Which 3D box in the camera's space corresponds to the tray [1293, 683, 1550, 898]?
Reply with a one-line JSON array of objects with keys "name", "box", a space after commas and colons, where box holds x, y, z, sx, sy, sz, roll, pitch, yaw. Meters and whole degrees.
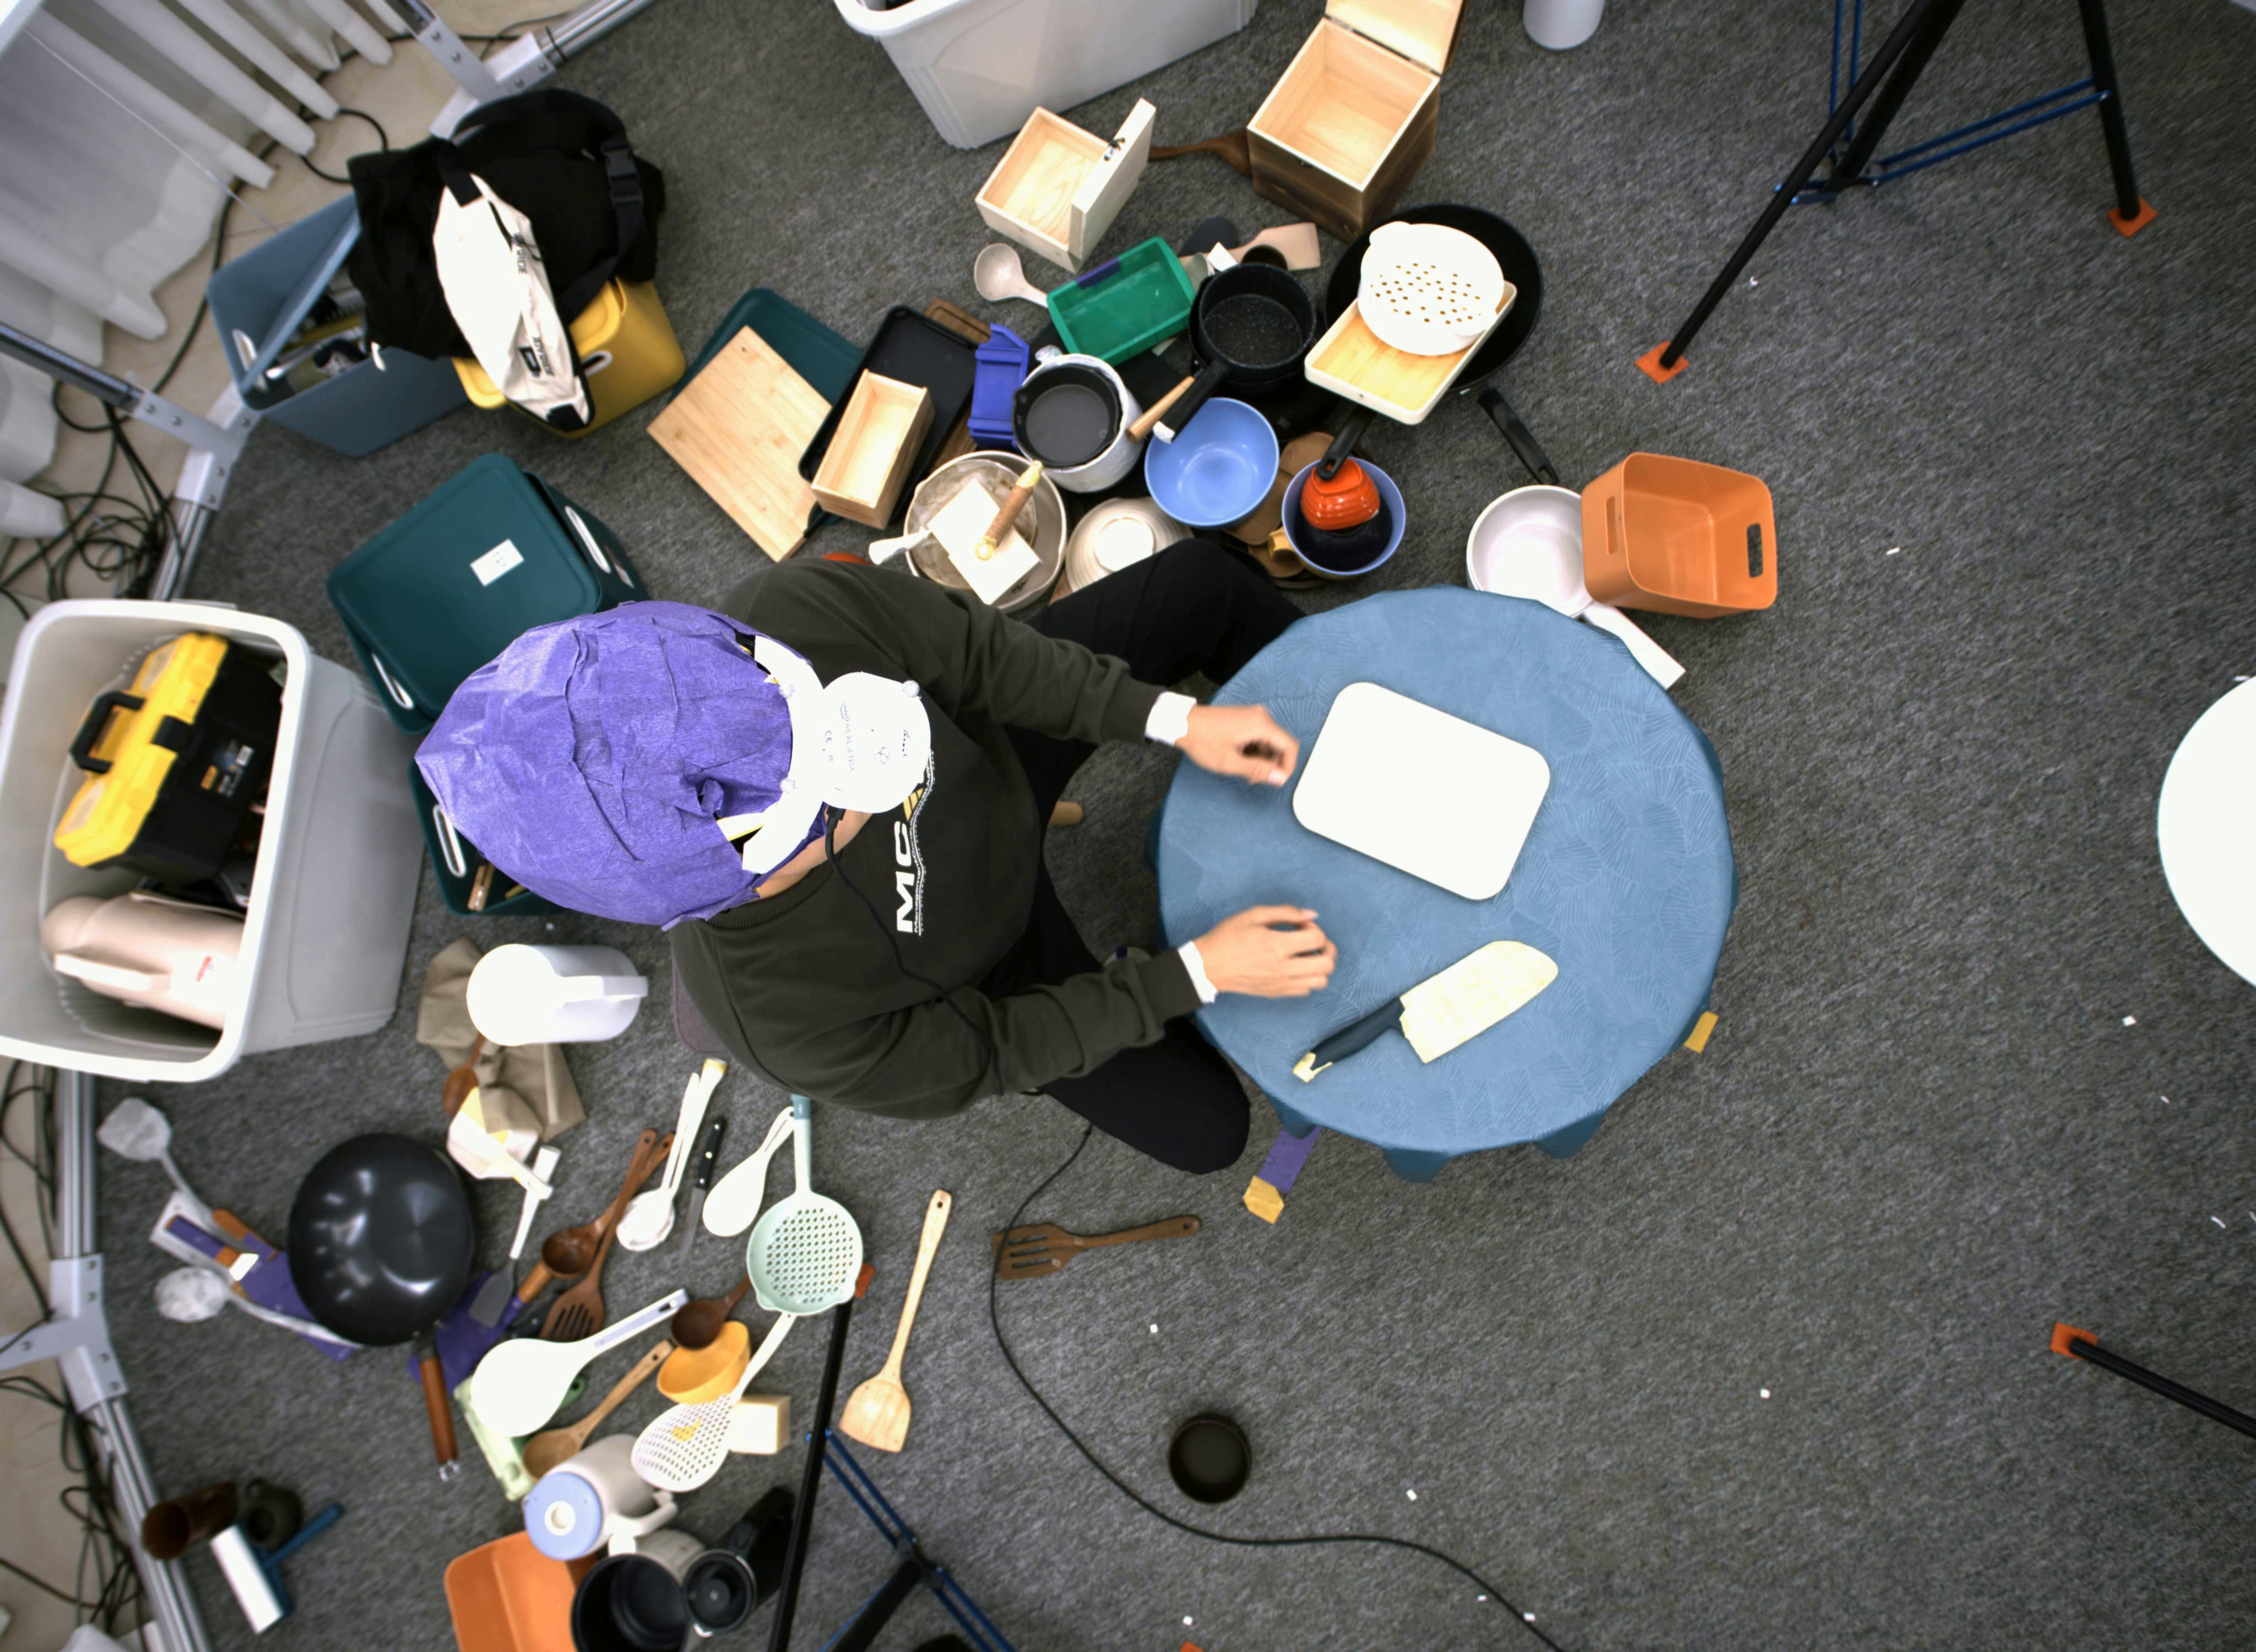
[{"name": "tray", "box": [0.307, -0.040, 1.450, 0.239, 0.017, 0.171, 24, 92, 11]}]

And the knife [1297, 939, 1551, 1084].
[{"name": "knife", "box": [0.310, 0.201, 1.438, 0.291, 0.027, 0.080, -29, 80, 7]}]
